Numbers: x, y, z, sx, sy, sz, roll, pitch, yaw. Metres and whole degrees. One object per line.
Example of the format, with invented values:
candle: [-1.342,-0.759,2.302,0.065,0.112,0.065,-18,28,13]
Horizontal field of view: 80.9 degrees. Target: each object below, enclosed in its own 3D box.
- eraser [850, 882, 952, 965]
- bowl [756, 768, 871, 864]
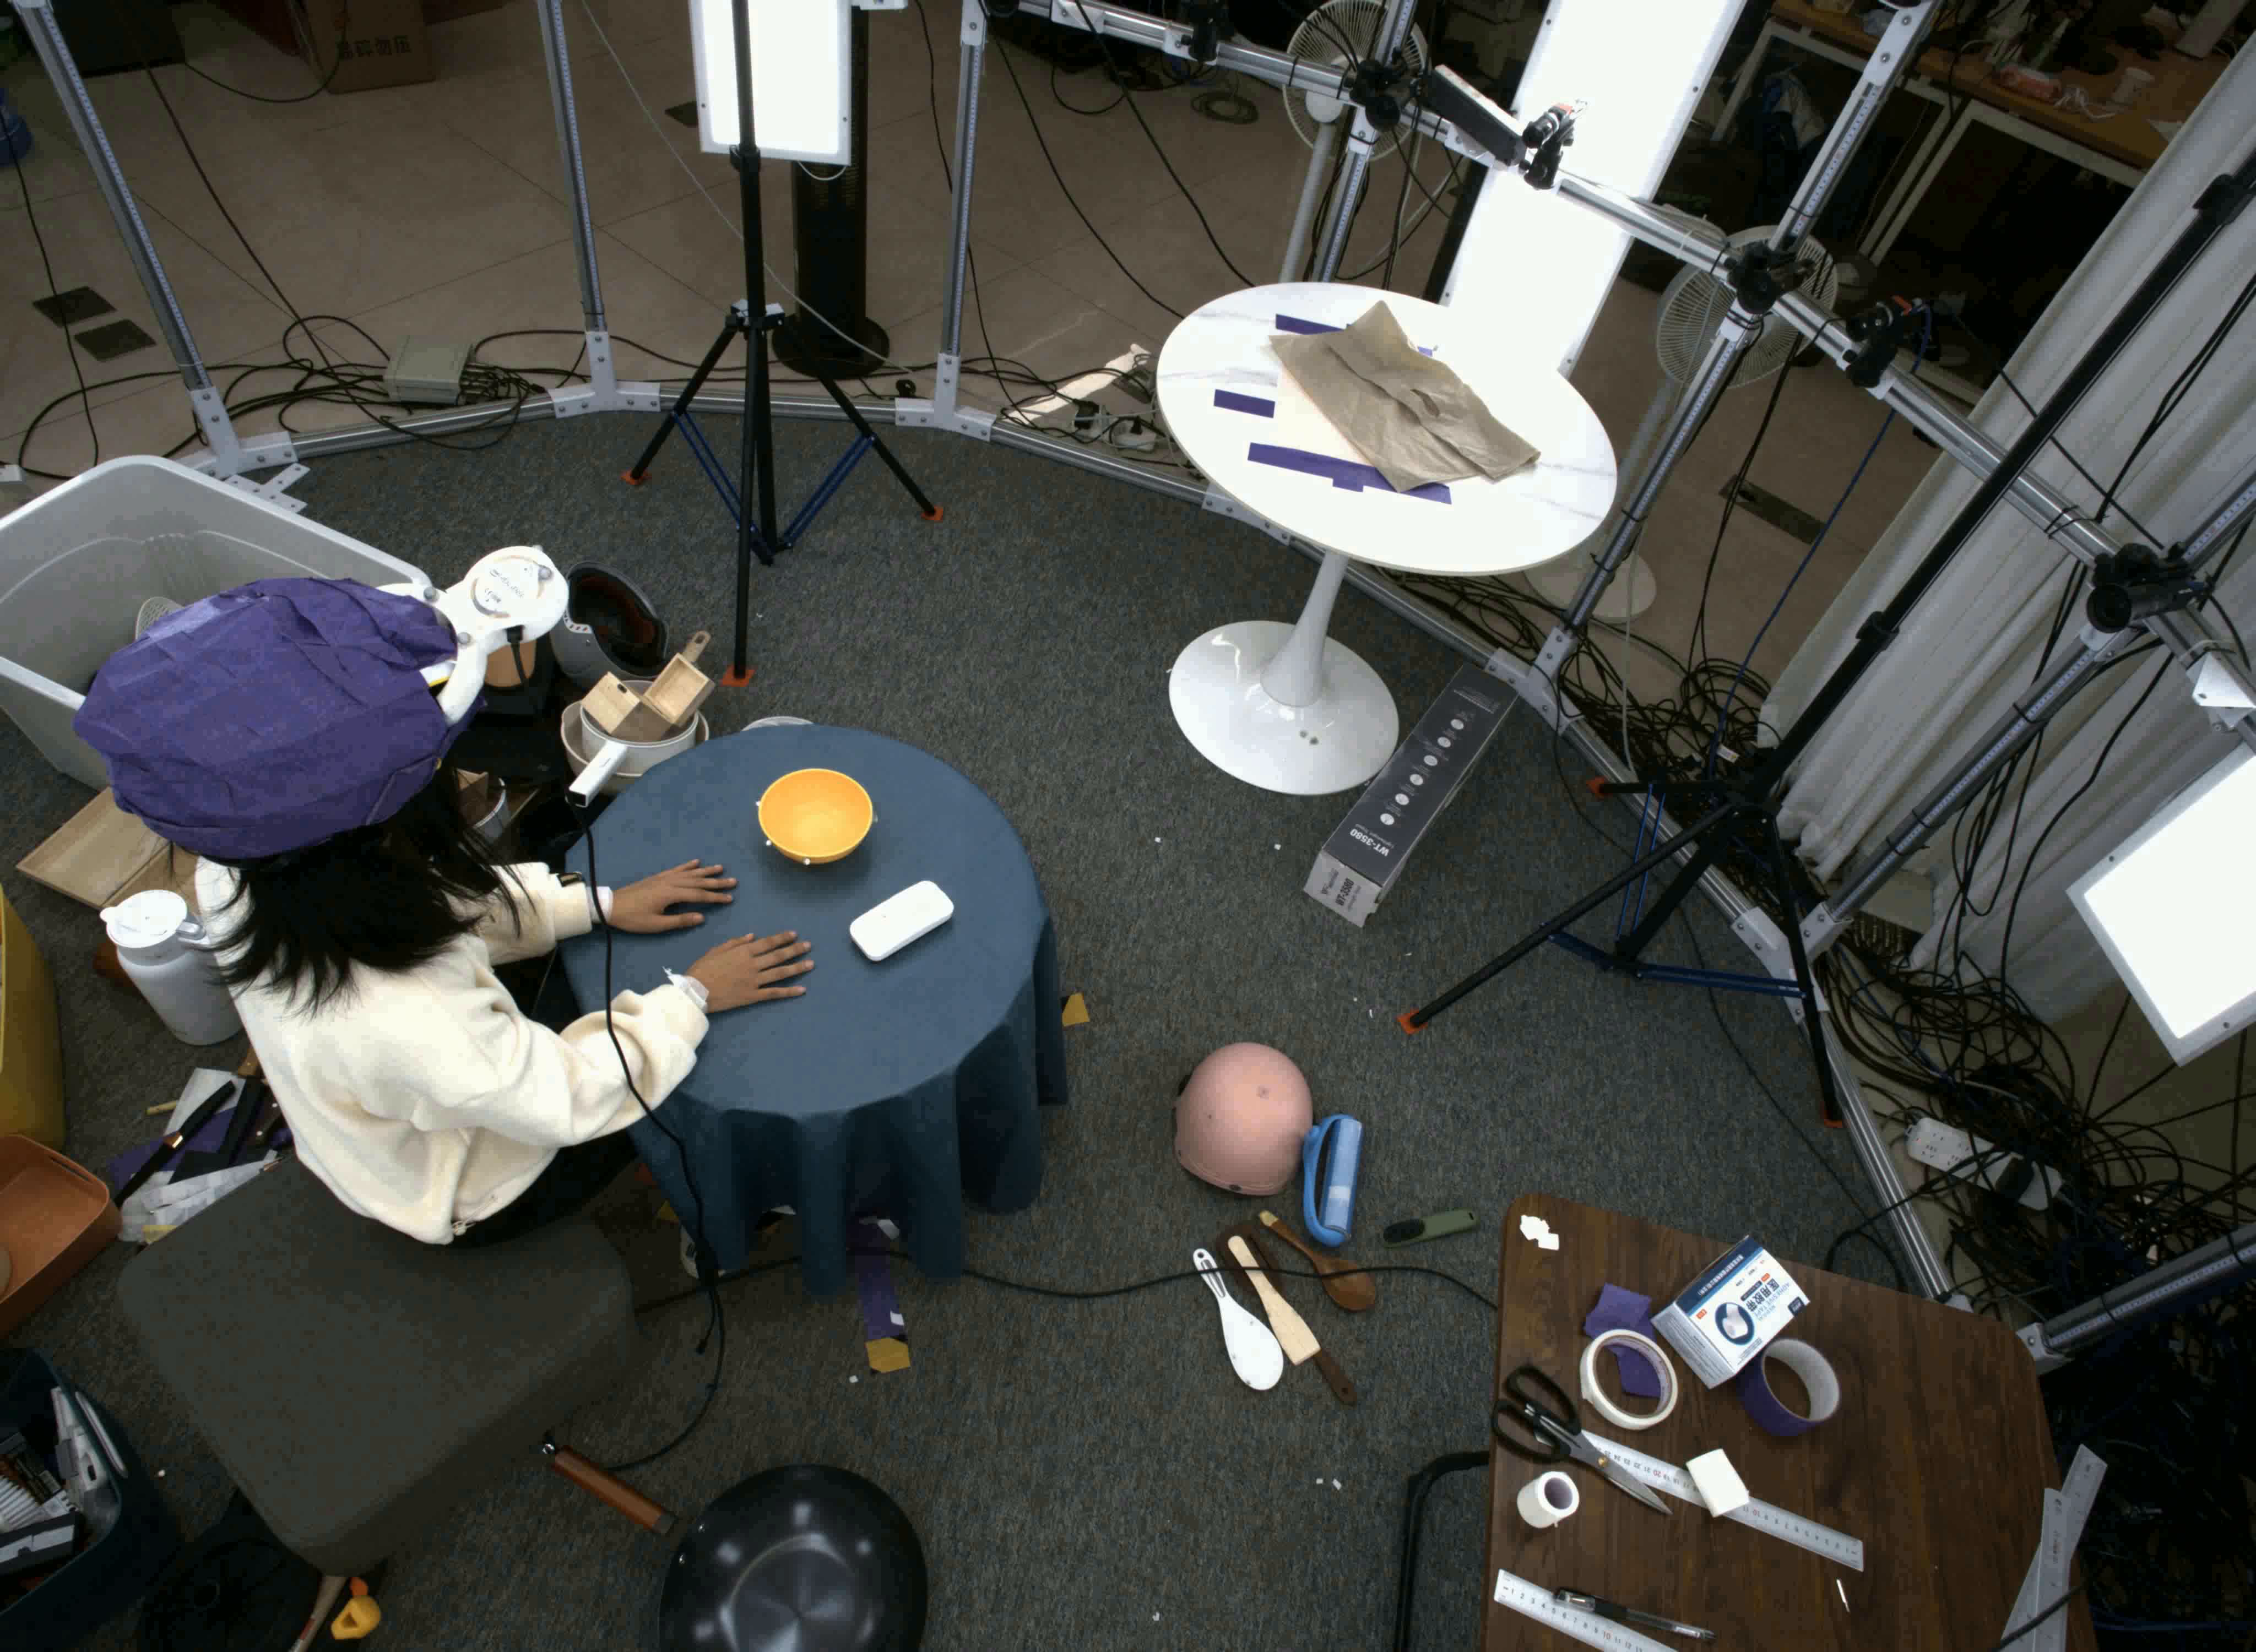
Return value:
eraser: [-0.288,0.119,1.646,0.132,0.035,0.062,-32,65,-33]
bowl: [-0.410,-0.003,1.688,0.145,0.061,0.142,9,51,-10]
